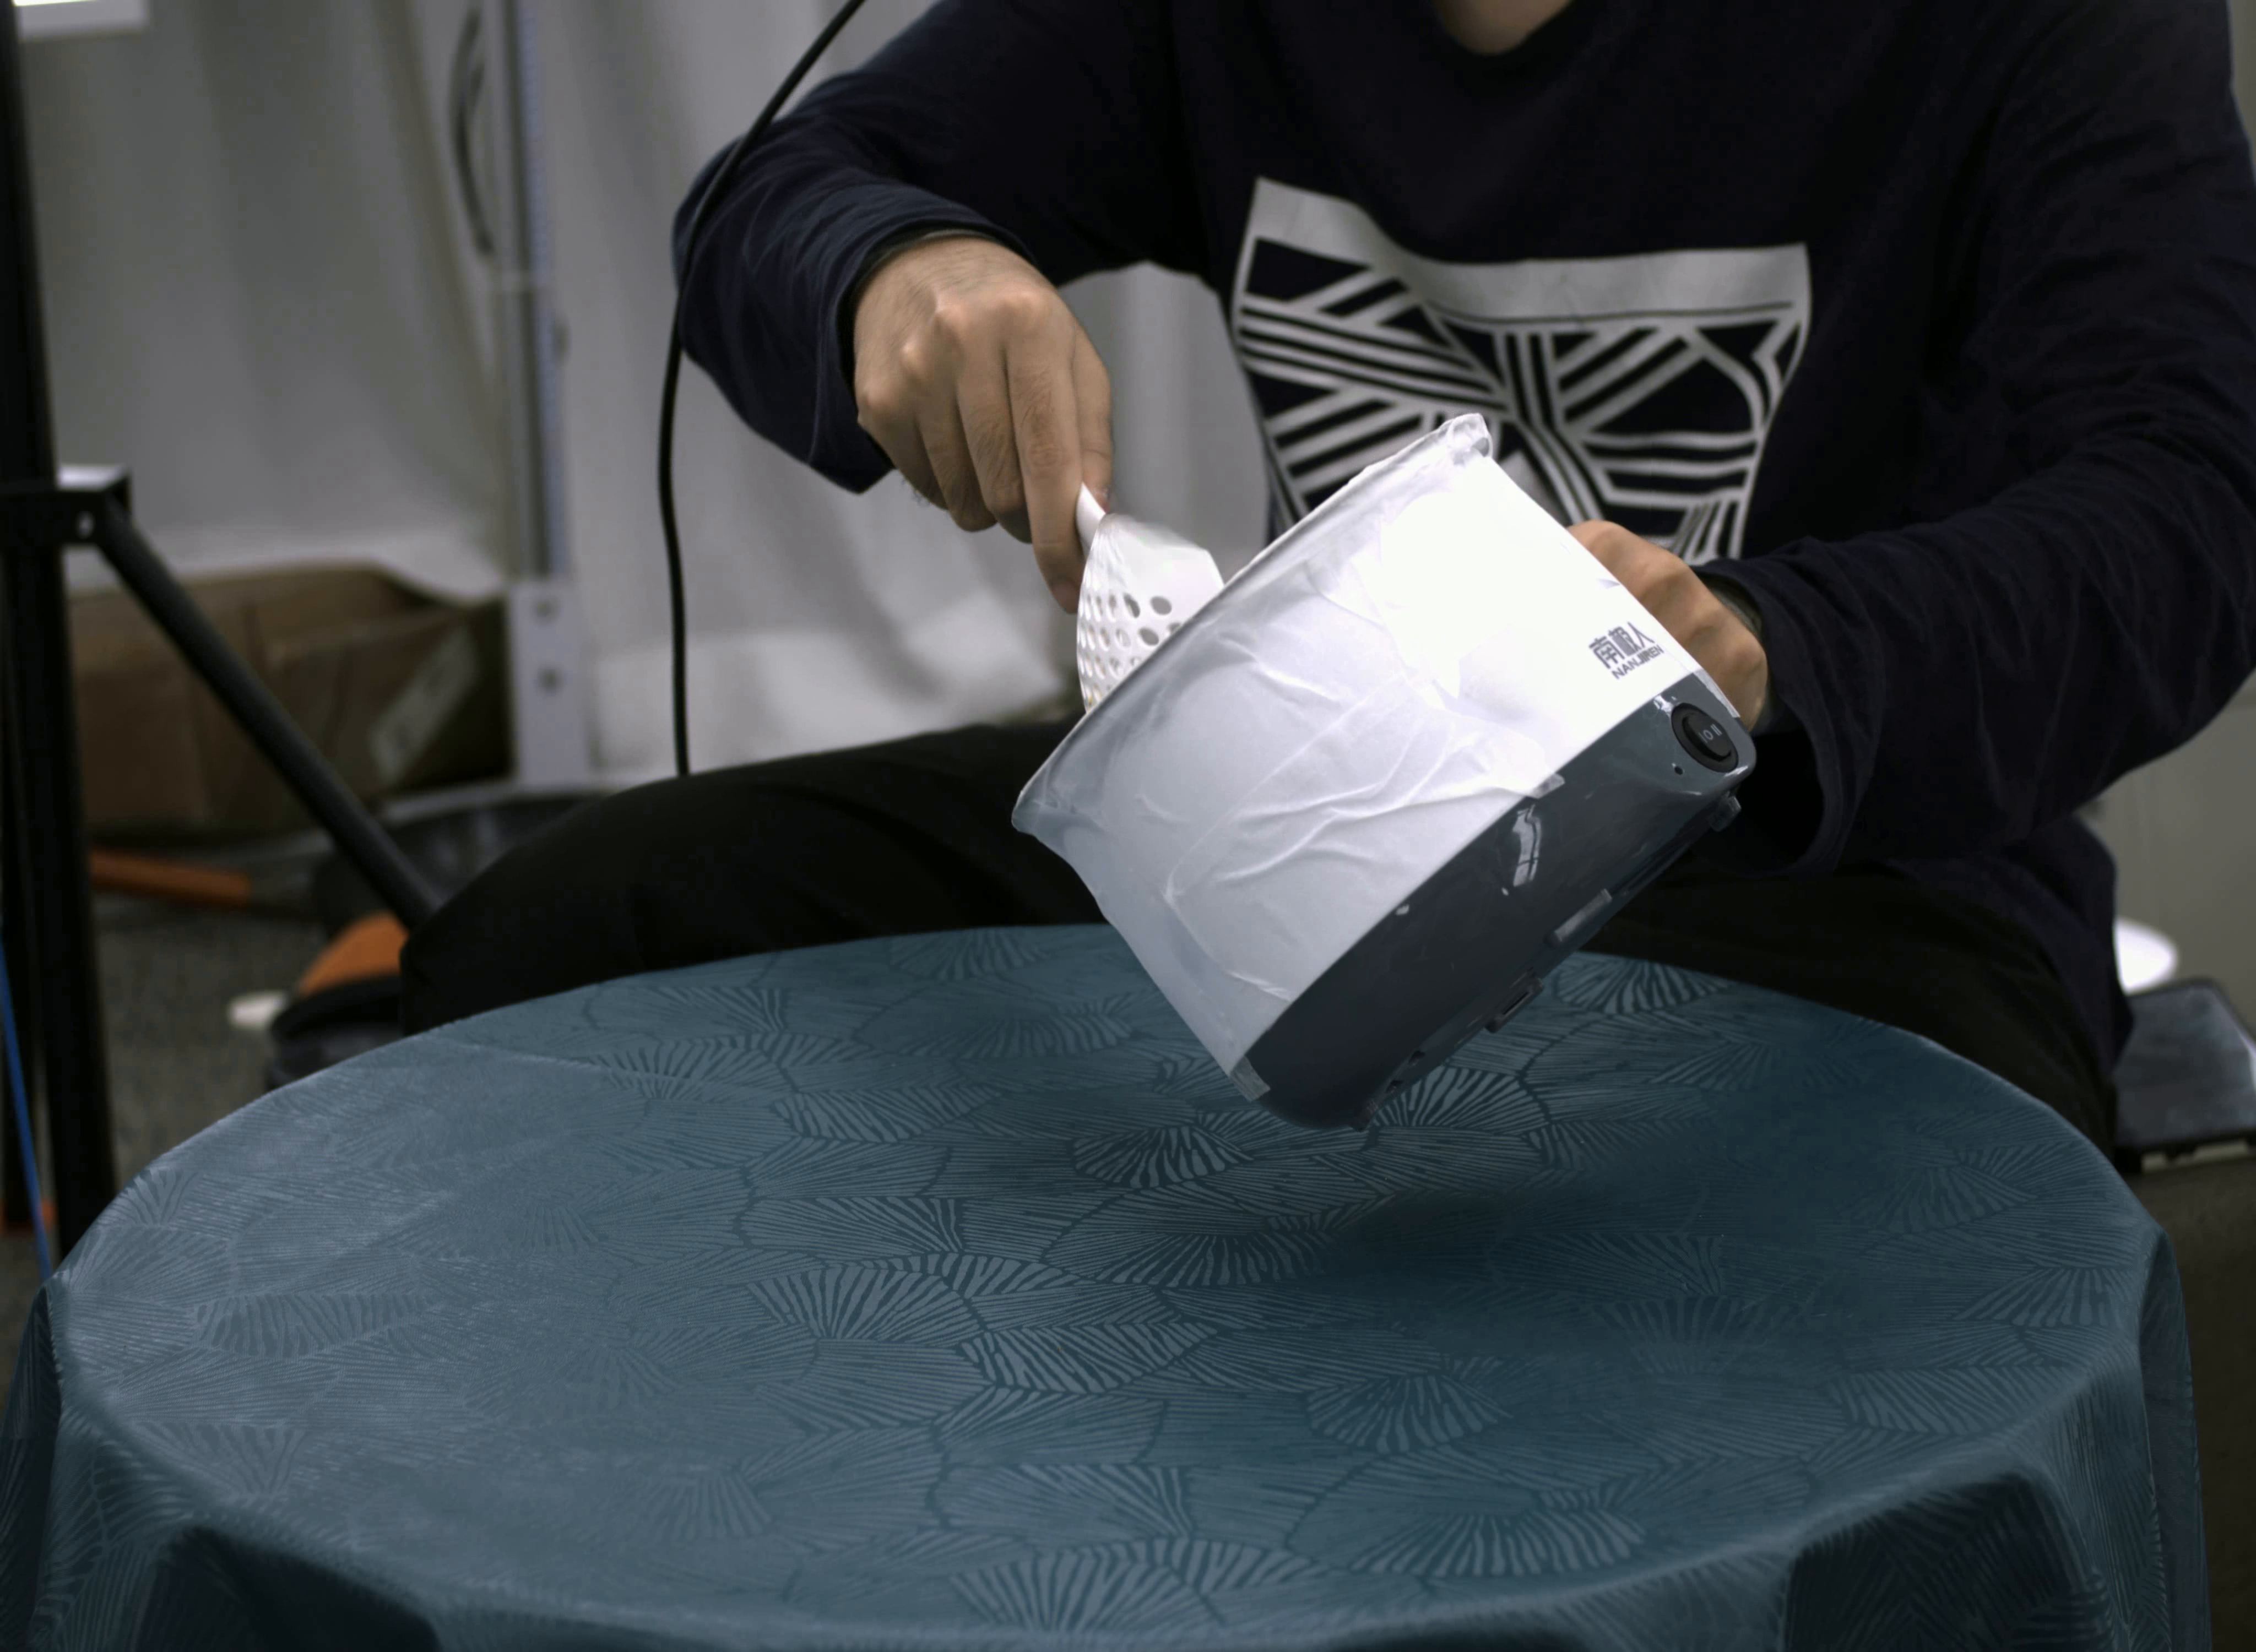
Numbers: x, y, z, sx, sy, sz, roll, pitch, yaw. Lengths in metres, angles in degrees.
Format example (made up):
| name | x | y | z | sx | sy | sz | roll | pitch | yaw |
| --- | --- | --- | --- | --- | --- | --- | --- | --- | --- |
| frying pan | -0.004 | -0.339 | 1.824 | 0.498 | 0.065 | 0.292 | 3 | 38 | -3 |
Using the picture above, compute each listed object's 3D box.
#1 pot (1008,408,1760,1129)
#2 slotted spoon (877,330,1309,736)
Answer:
| name | x | y | z | sx | sy | sz | roll | pitch | yaw |
| --- | --- | --- | --- | --- | --- | --- | --- | --- | --- |
| pot | 0.087 | -0.019 | 1.522 | 0.180 | 0.137 | 0.230 | -42 | -7 | 32 |
| slotted spoon | -0.012 | -0.079 | 1.591 | 0.050 | 0.135 | 0.354 | -21 | 30 | -5 |
